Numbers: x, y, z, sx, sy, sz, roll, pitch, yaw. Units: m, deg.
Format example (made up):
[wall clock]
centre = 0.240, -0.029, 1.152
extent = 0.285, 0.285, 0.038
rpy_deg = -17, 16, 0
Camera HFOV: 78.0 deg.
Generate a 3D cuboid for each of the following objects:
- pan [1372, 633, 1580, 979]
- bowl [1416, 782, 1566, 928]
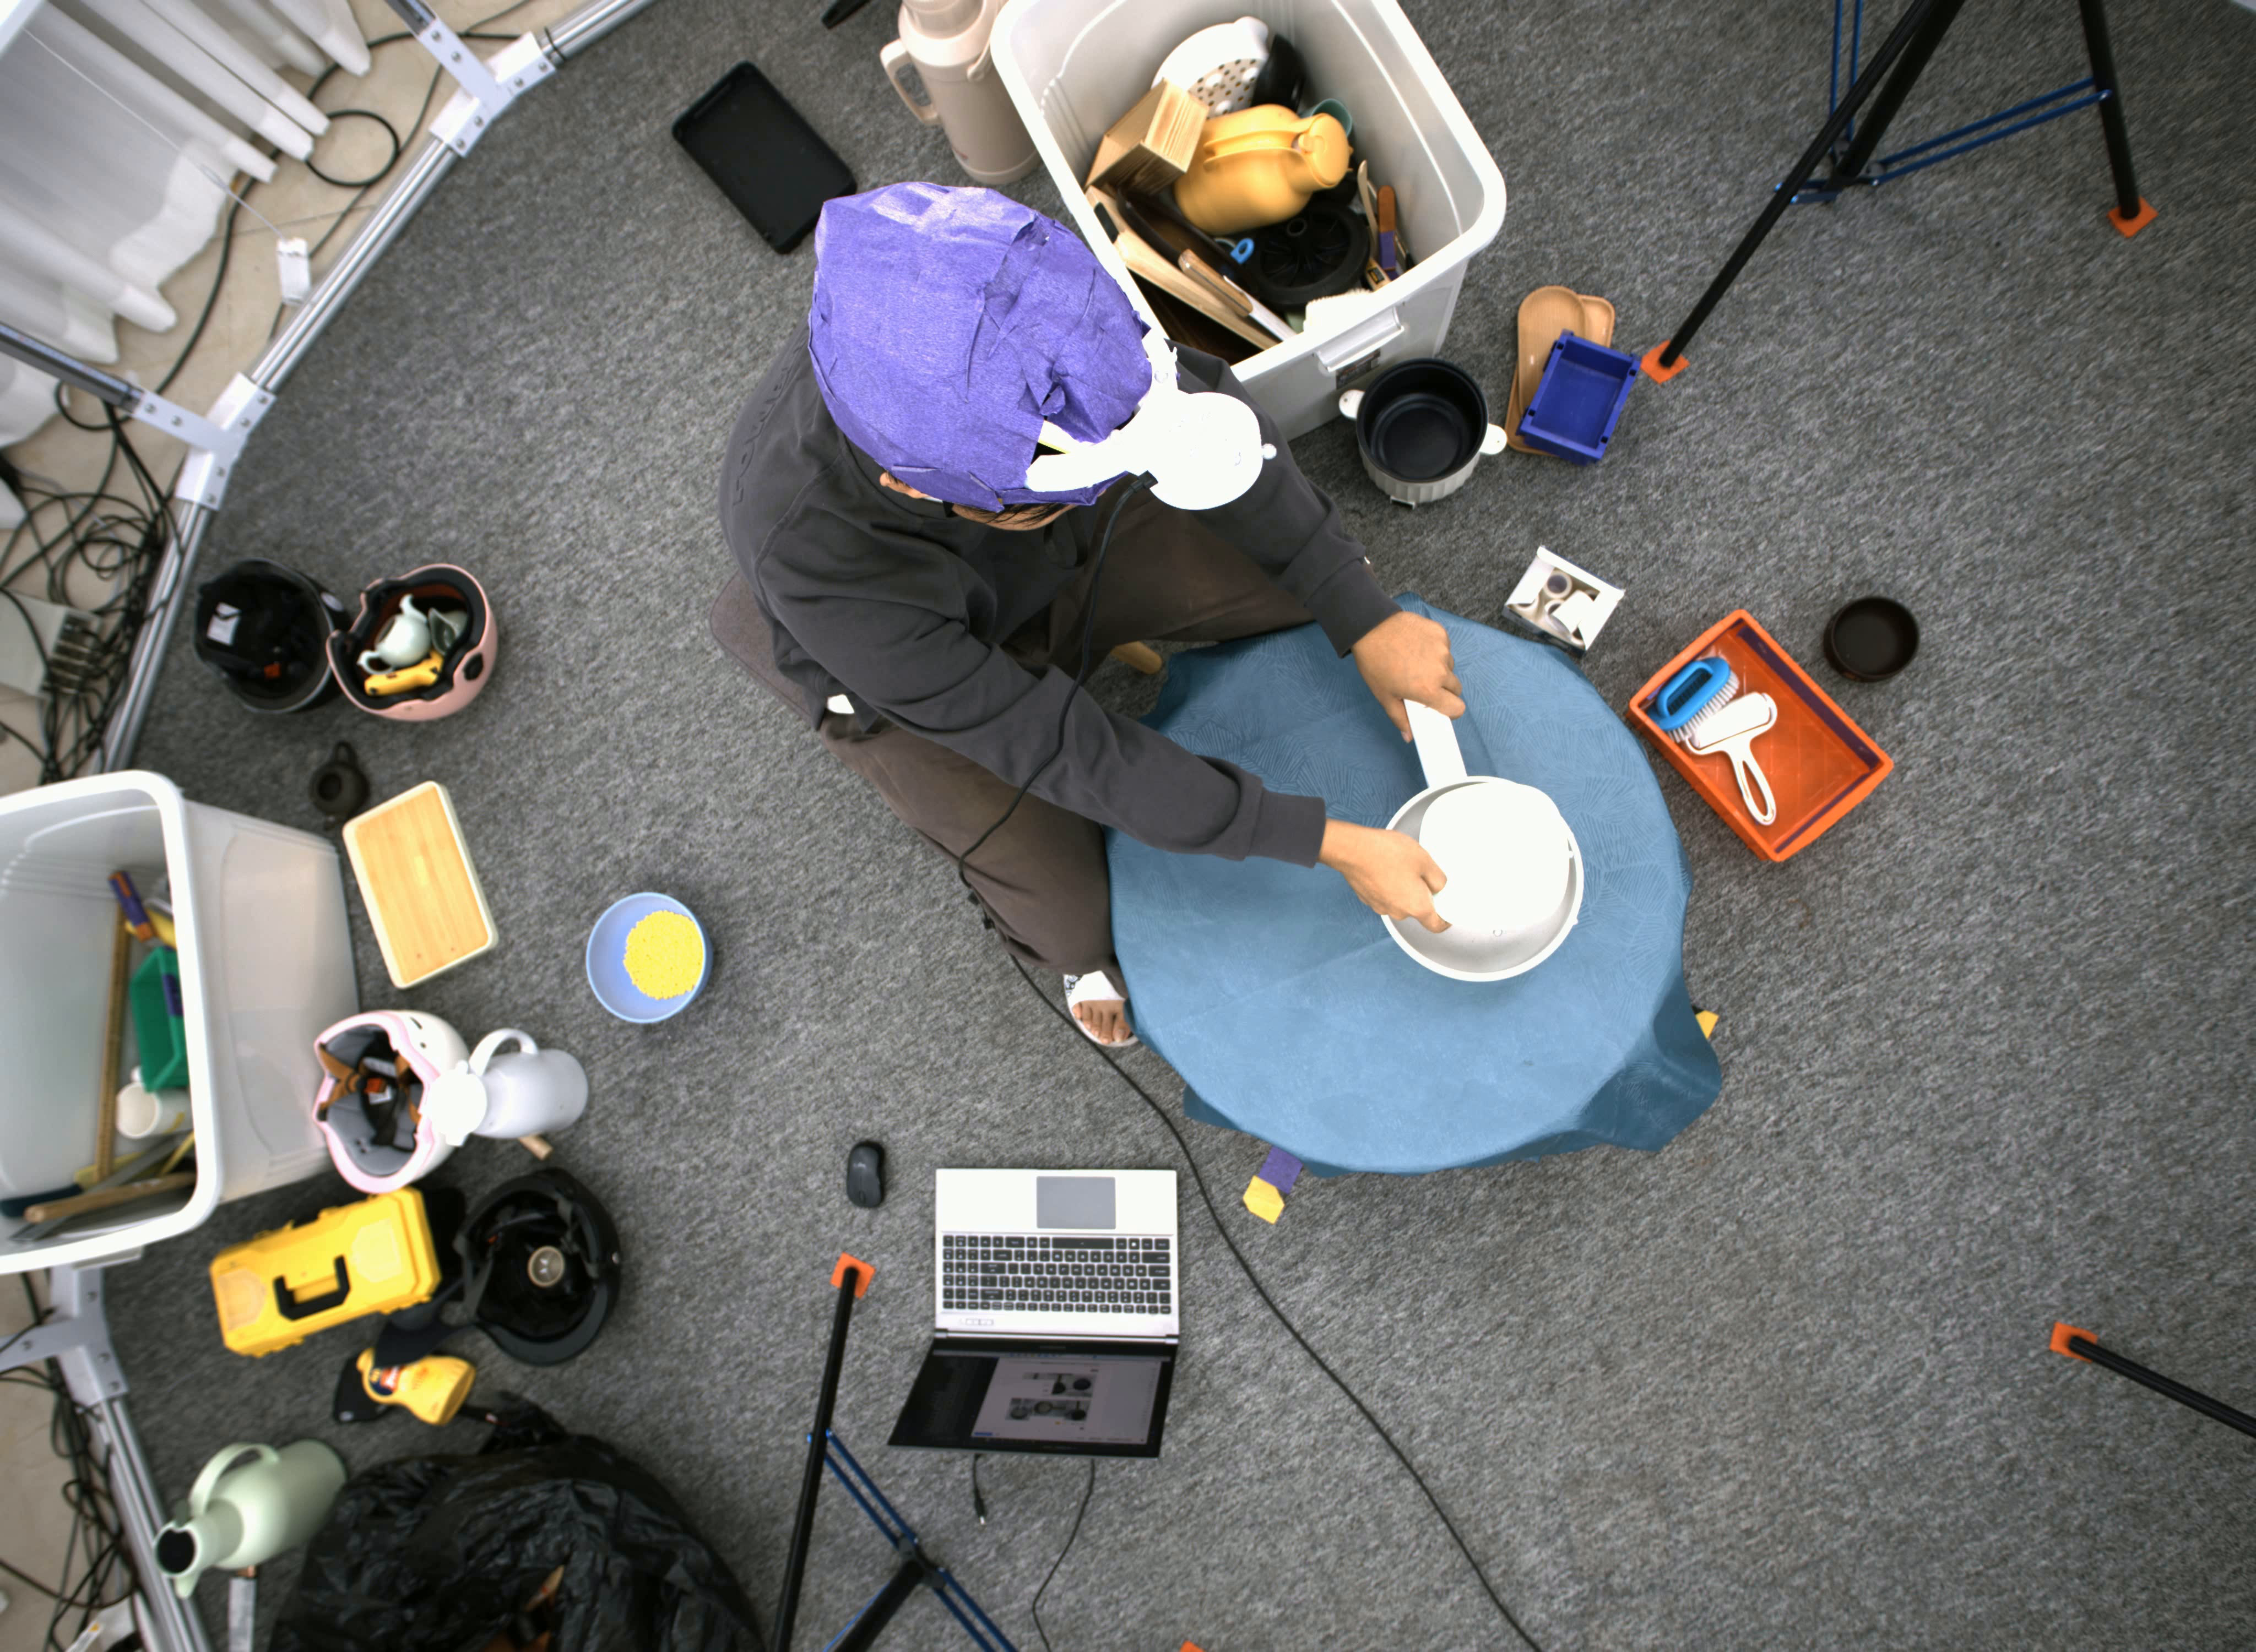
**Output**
[pan]
centre = 0.333, -0.019, 1.410
extent = 0.202, 0.102, 0.352
rpy_deg = -17, 82, 12
[bowl]
centre = 0.348, 0.028, 1.328
extent = 0.152, 0.059, 0.151
rpy_deg = -1, 86, 9
